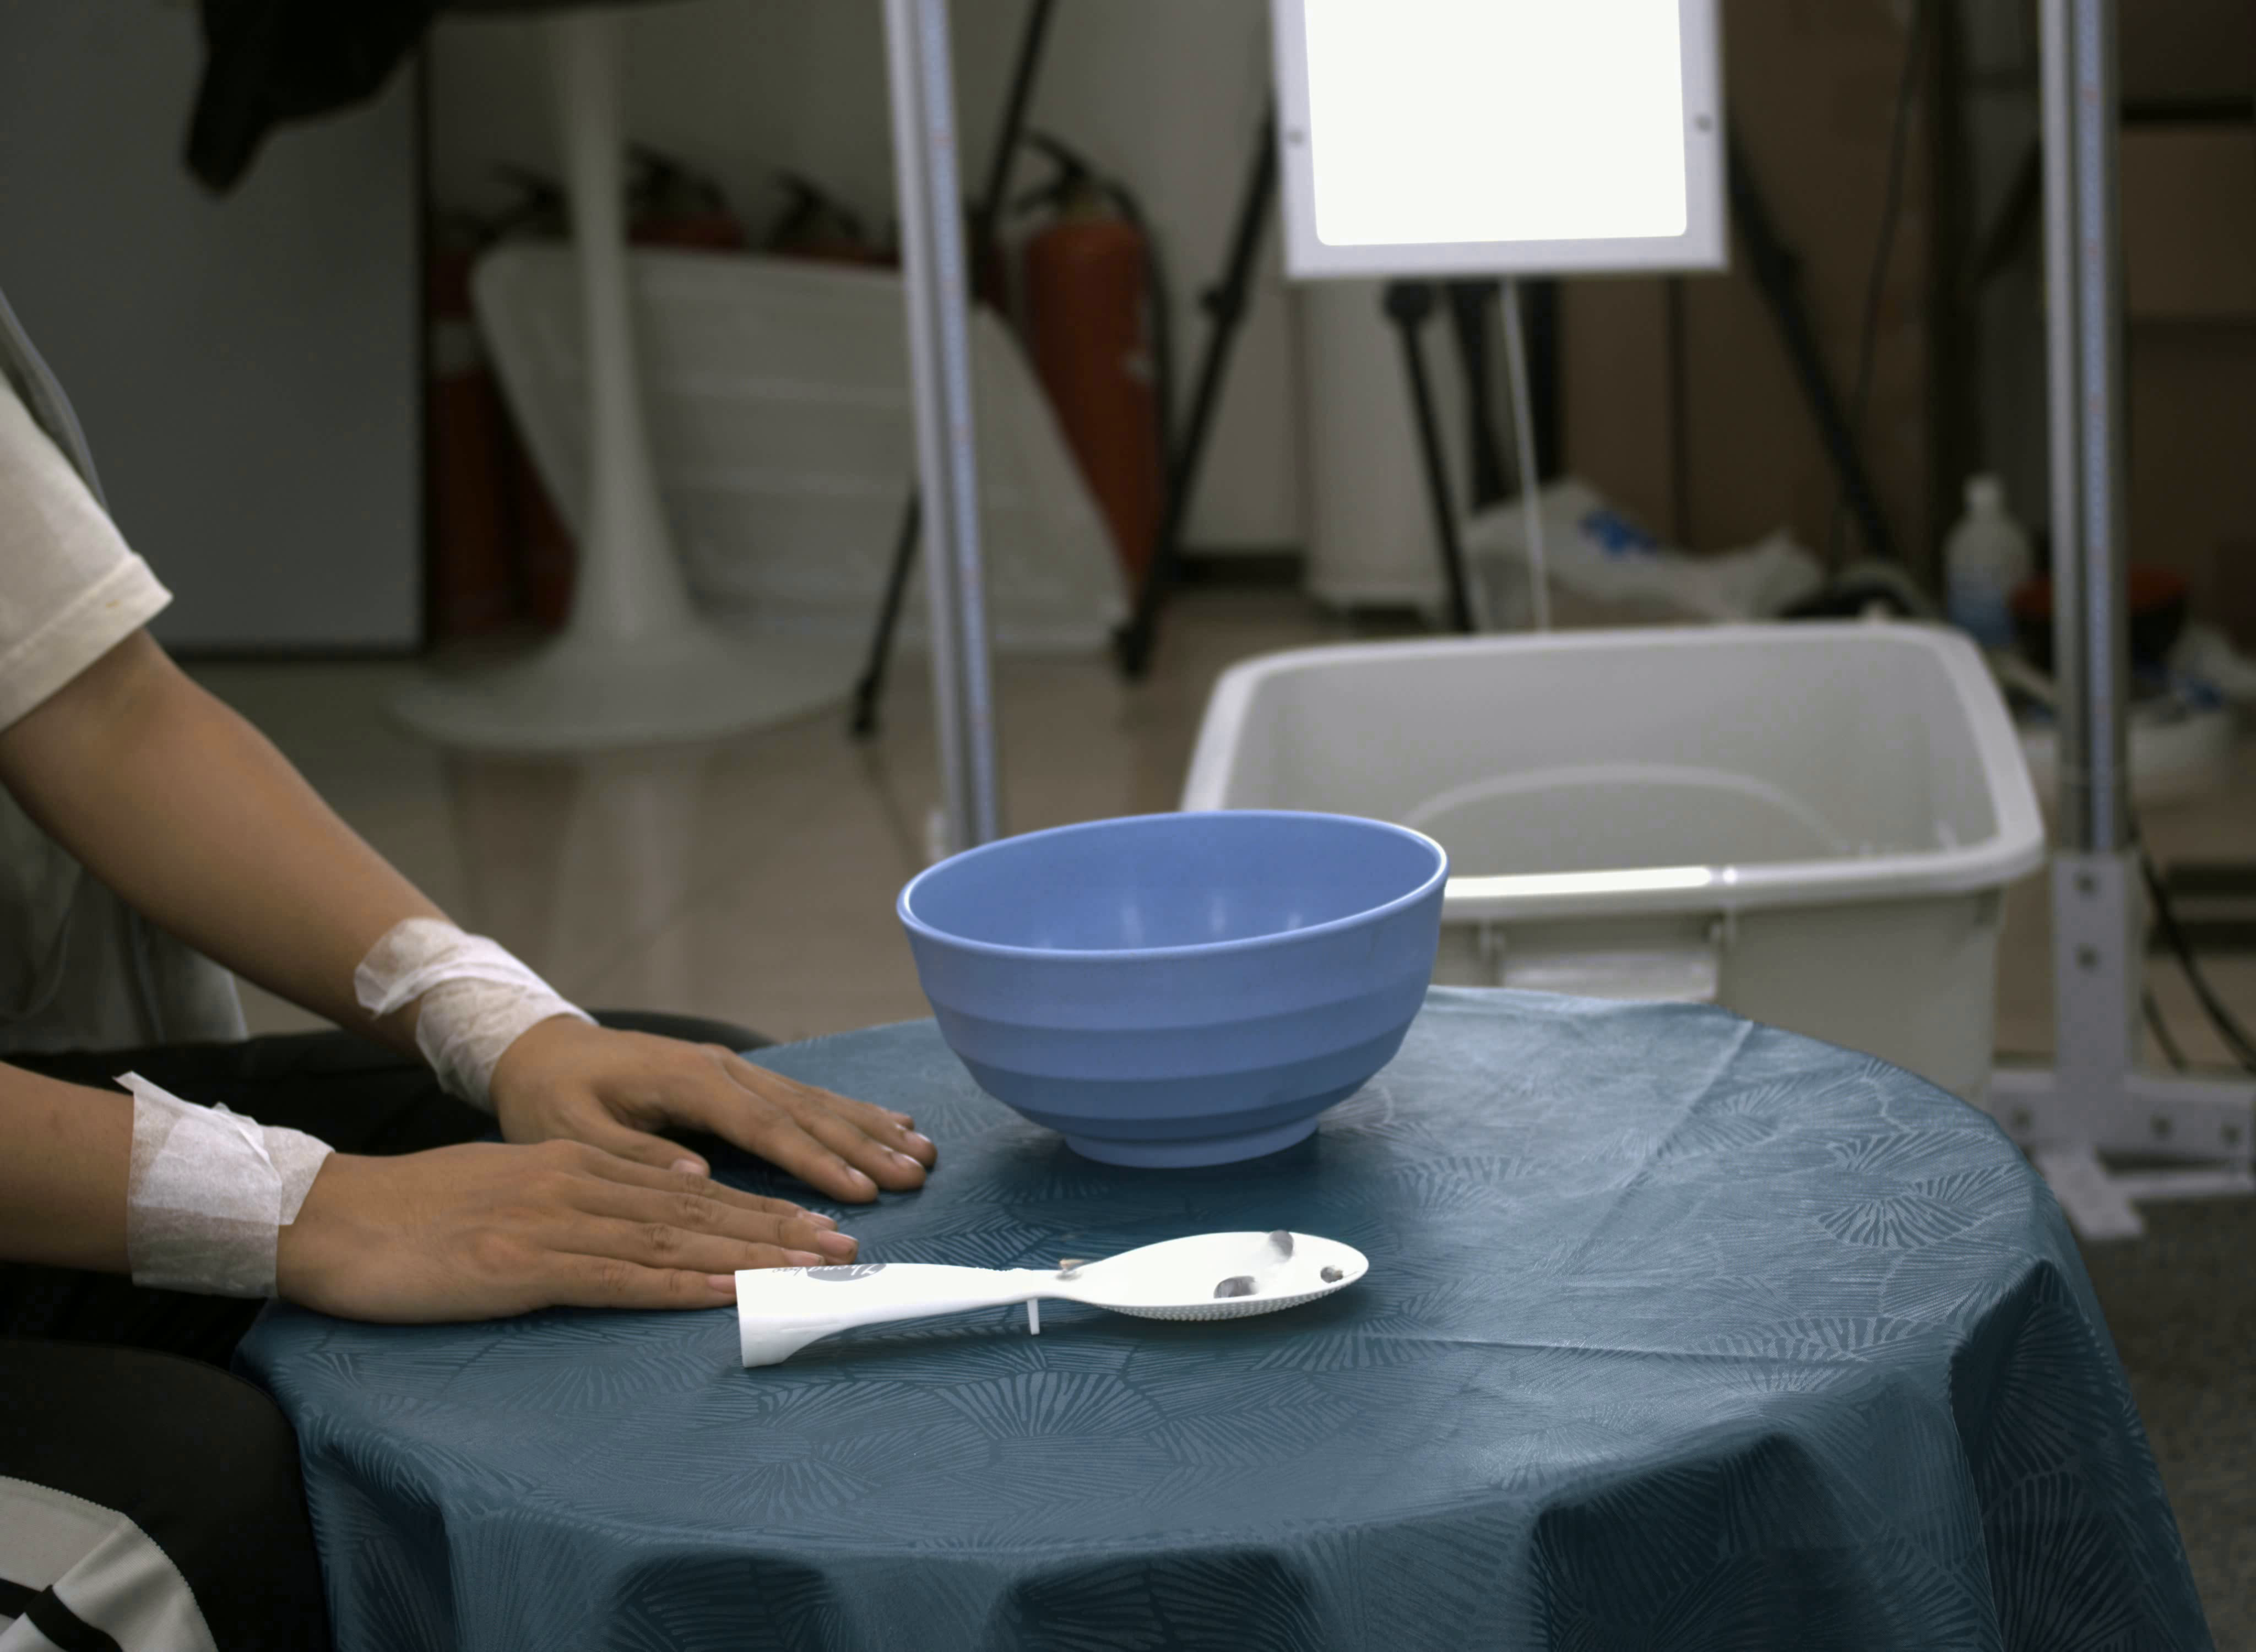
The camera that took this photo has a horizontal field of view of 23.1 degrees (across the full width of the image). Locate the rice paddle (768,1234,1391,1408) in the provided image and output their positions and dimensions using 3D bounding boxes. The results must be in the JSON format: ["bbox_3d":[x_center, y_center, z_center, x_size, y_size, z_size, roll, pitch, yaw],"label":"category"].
[{"bbox_3d":[-0.013,0.150,1.763,0.203,0.029,0.069,-11,2,-11],"label":"rice paddle"}]

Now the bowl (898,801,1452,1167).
[{"bbox_3d":[0.019,0.062,1.950,0.196,0.096,0.196,-4,15,0],"label":"bowl"}]
